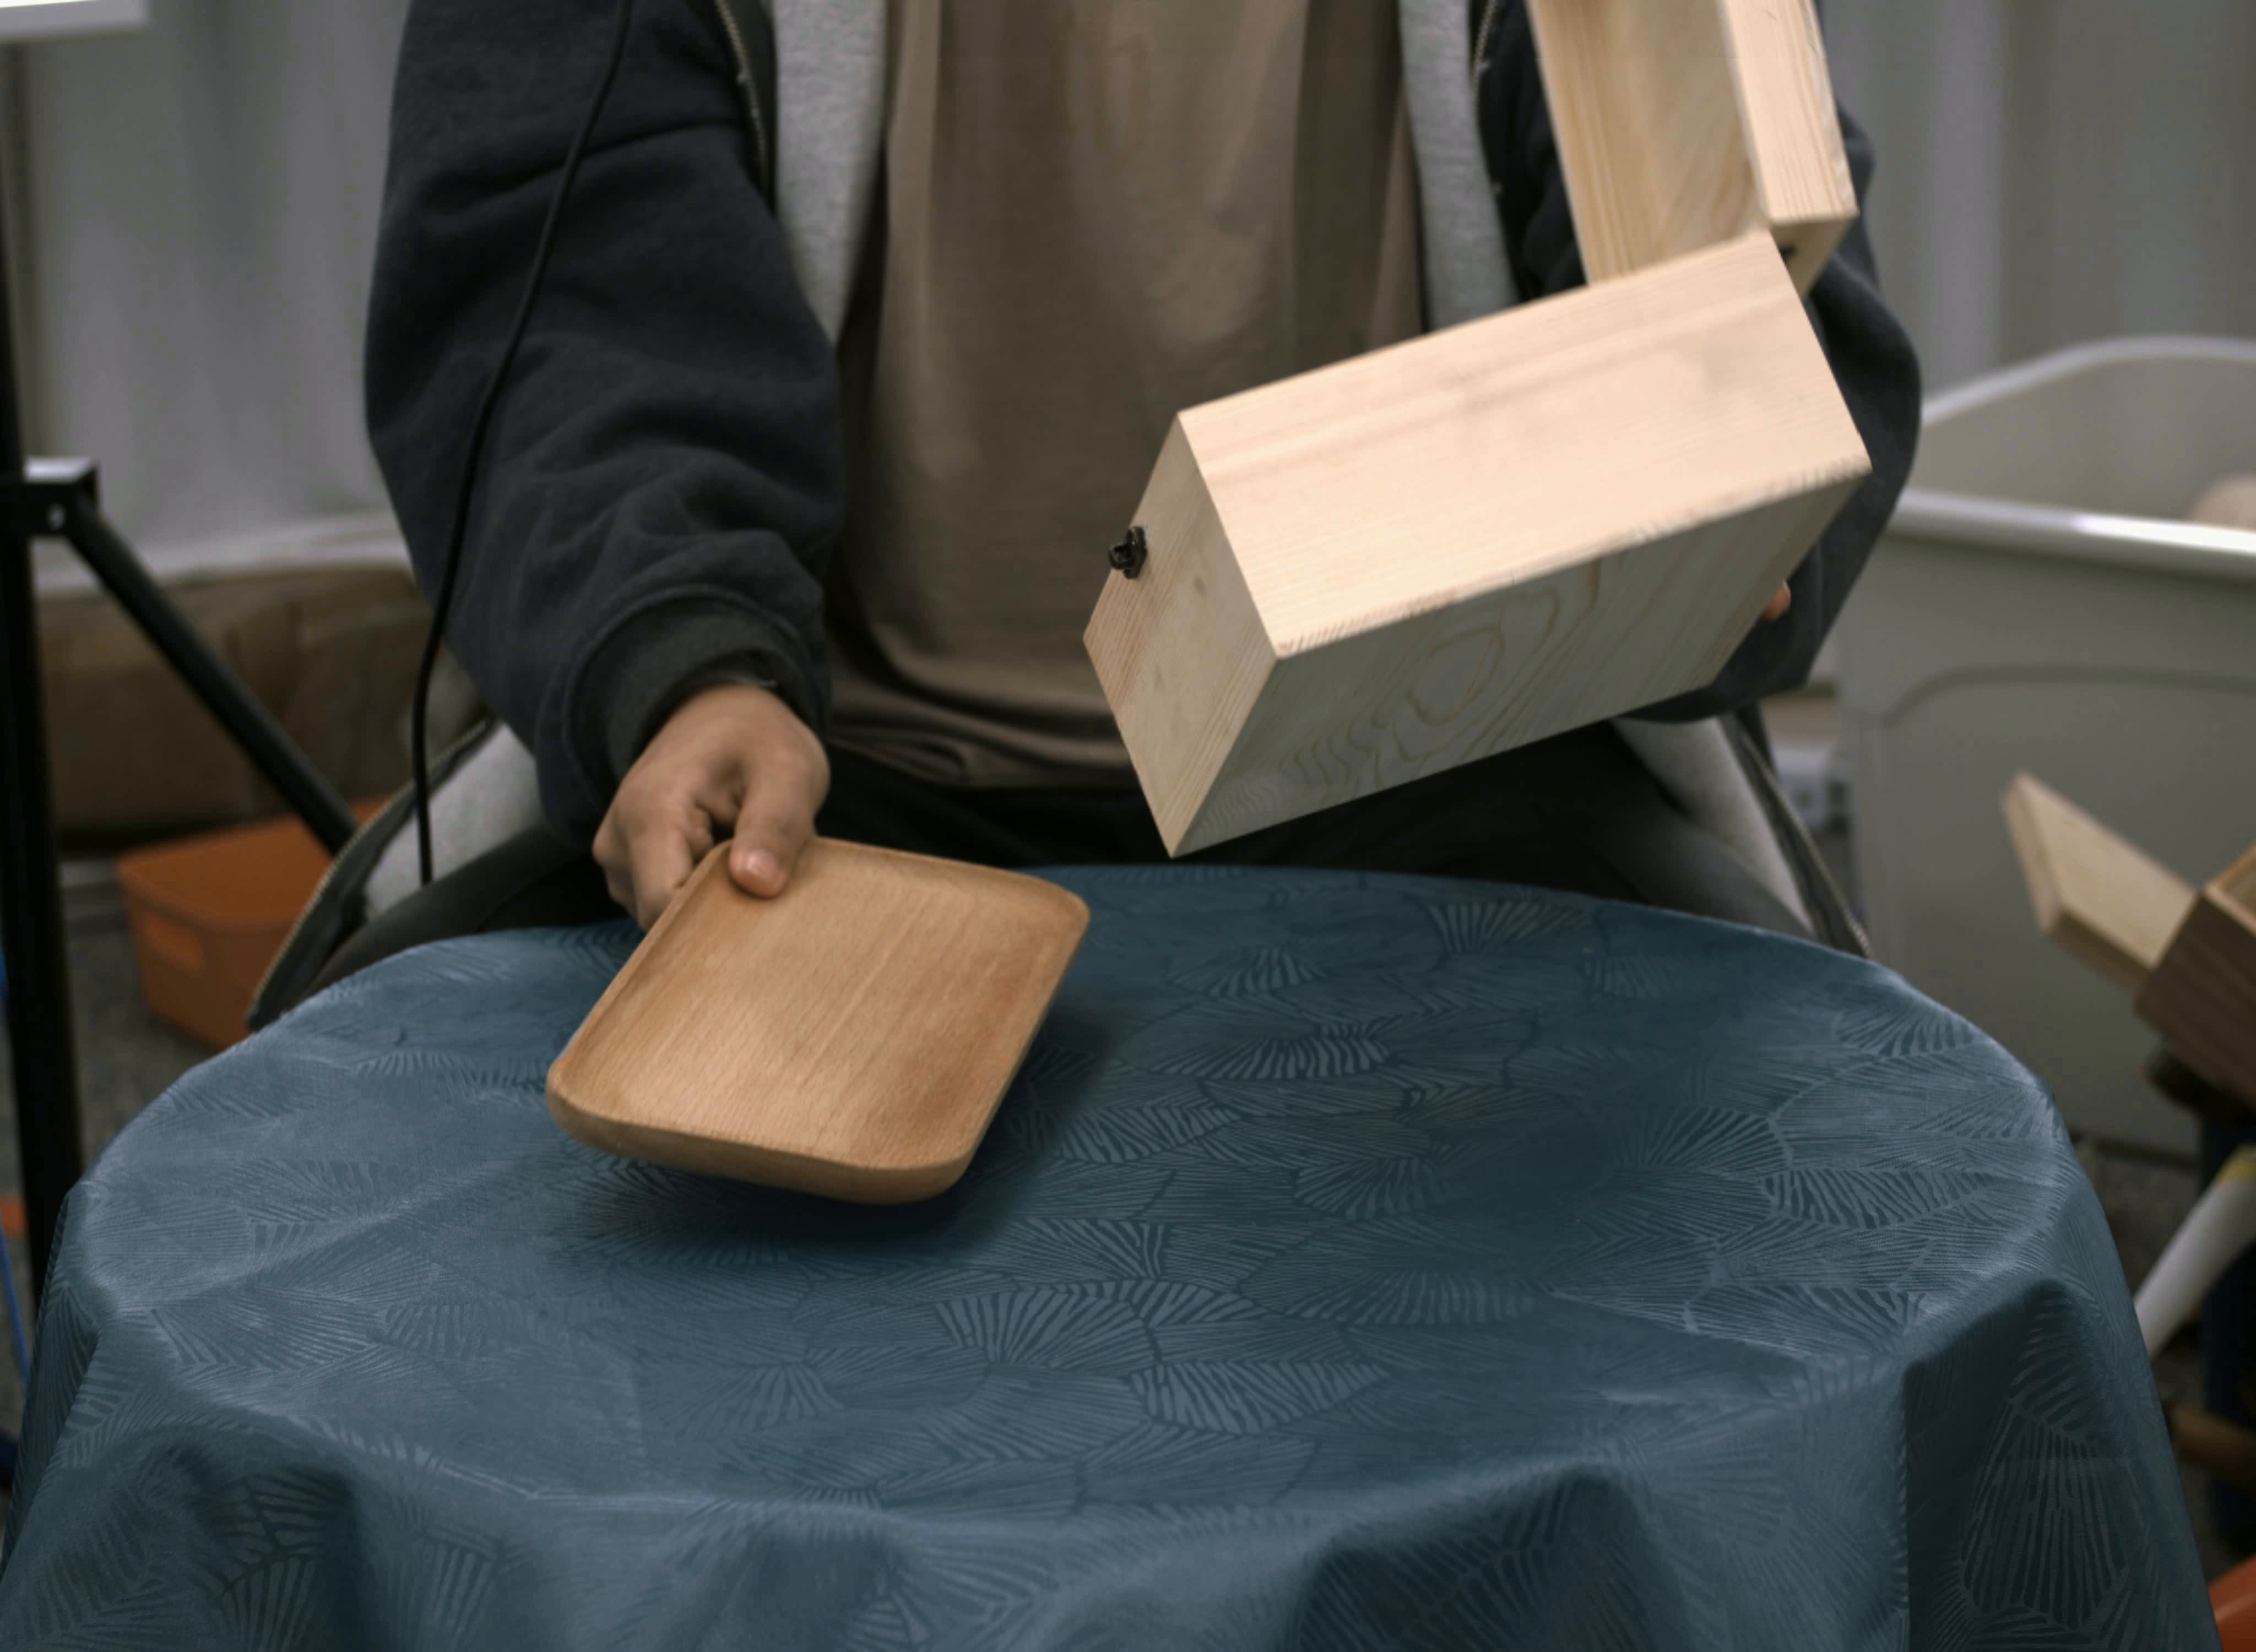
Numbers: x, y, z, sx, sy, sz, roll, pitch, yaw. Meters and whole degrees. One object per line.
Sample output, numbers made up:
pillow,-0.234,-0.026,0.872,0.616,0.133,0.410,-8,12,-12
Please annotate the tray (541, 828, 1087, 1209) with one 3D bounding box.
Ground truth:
tray,-0.092,0.056,1.636,0.131,0.023,0.250,12,21,7

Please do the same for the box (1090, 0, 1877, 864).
box,0.101,-0.163,1.557,0.261,0.256,0.182,-16,-18,-13
